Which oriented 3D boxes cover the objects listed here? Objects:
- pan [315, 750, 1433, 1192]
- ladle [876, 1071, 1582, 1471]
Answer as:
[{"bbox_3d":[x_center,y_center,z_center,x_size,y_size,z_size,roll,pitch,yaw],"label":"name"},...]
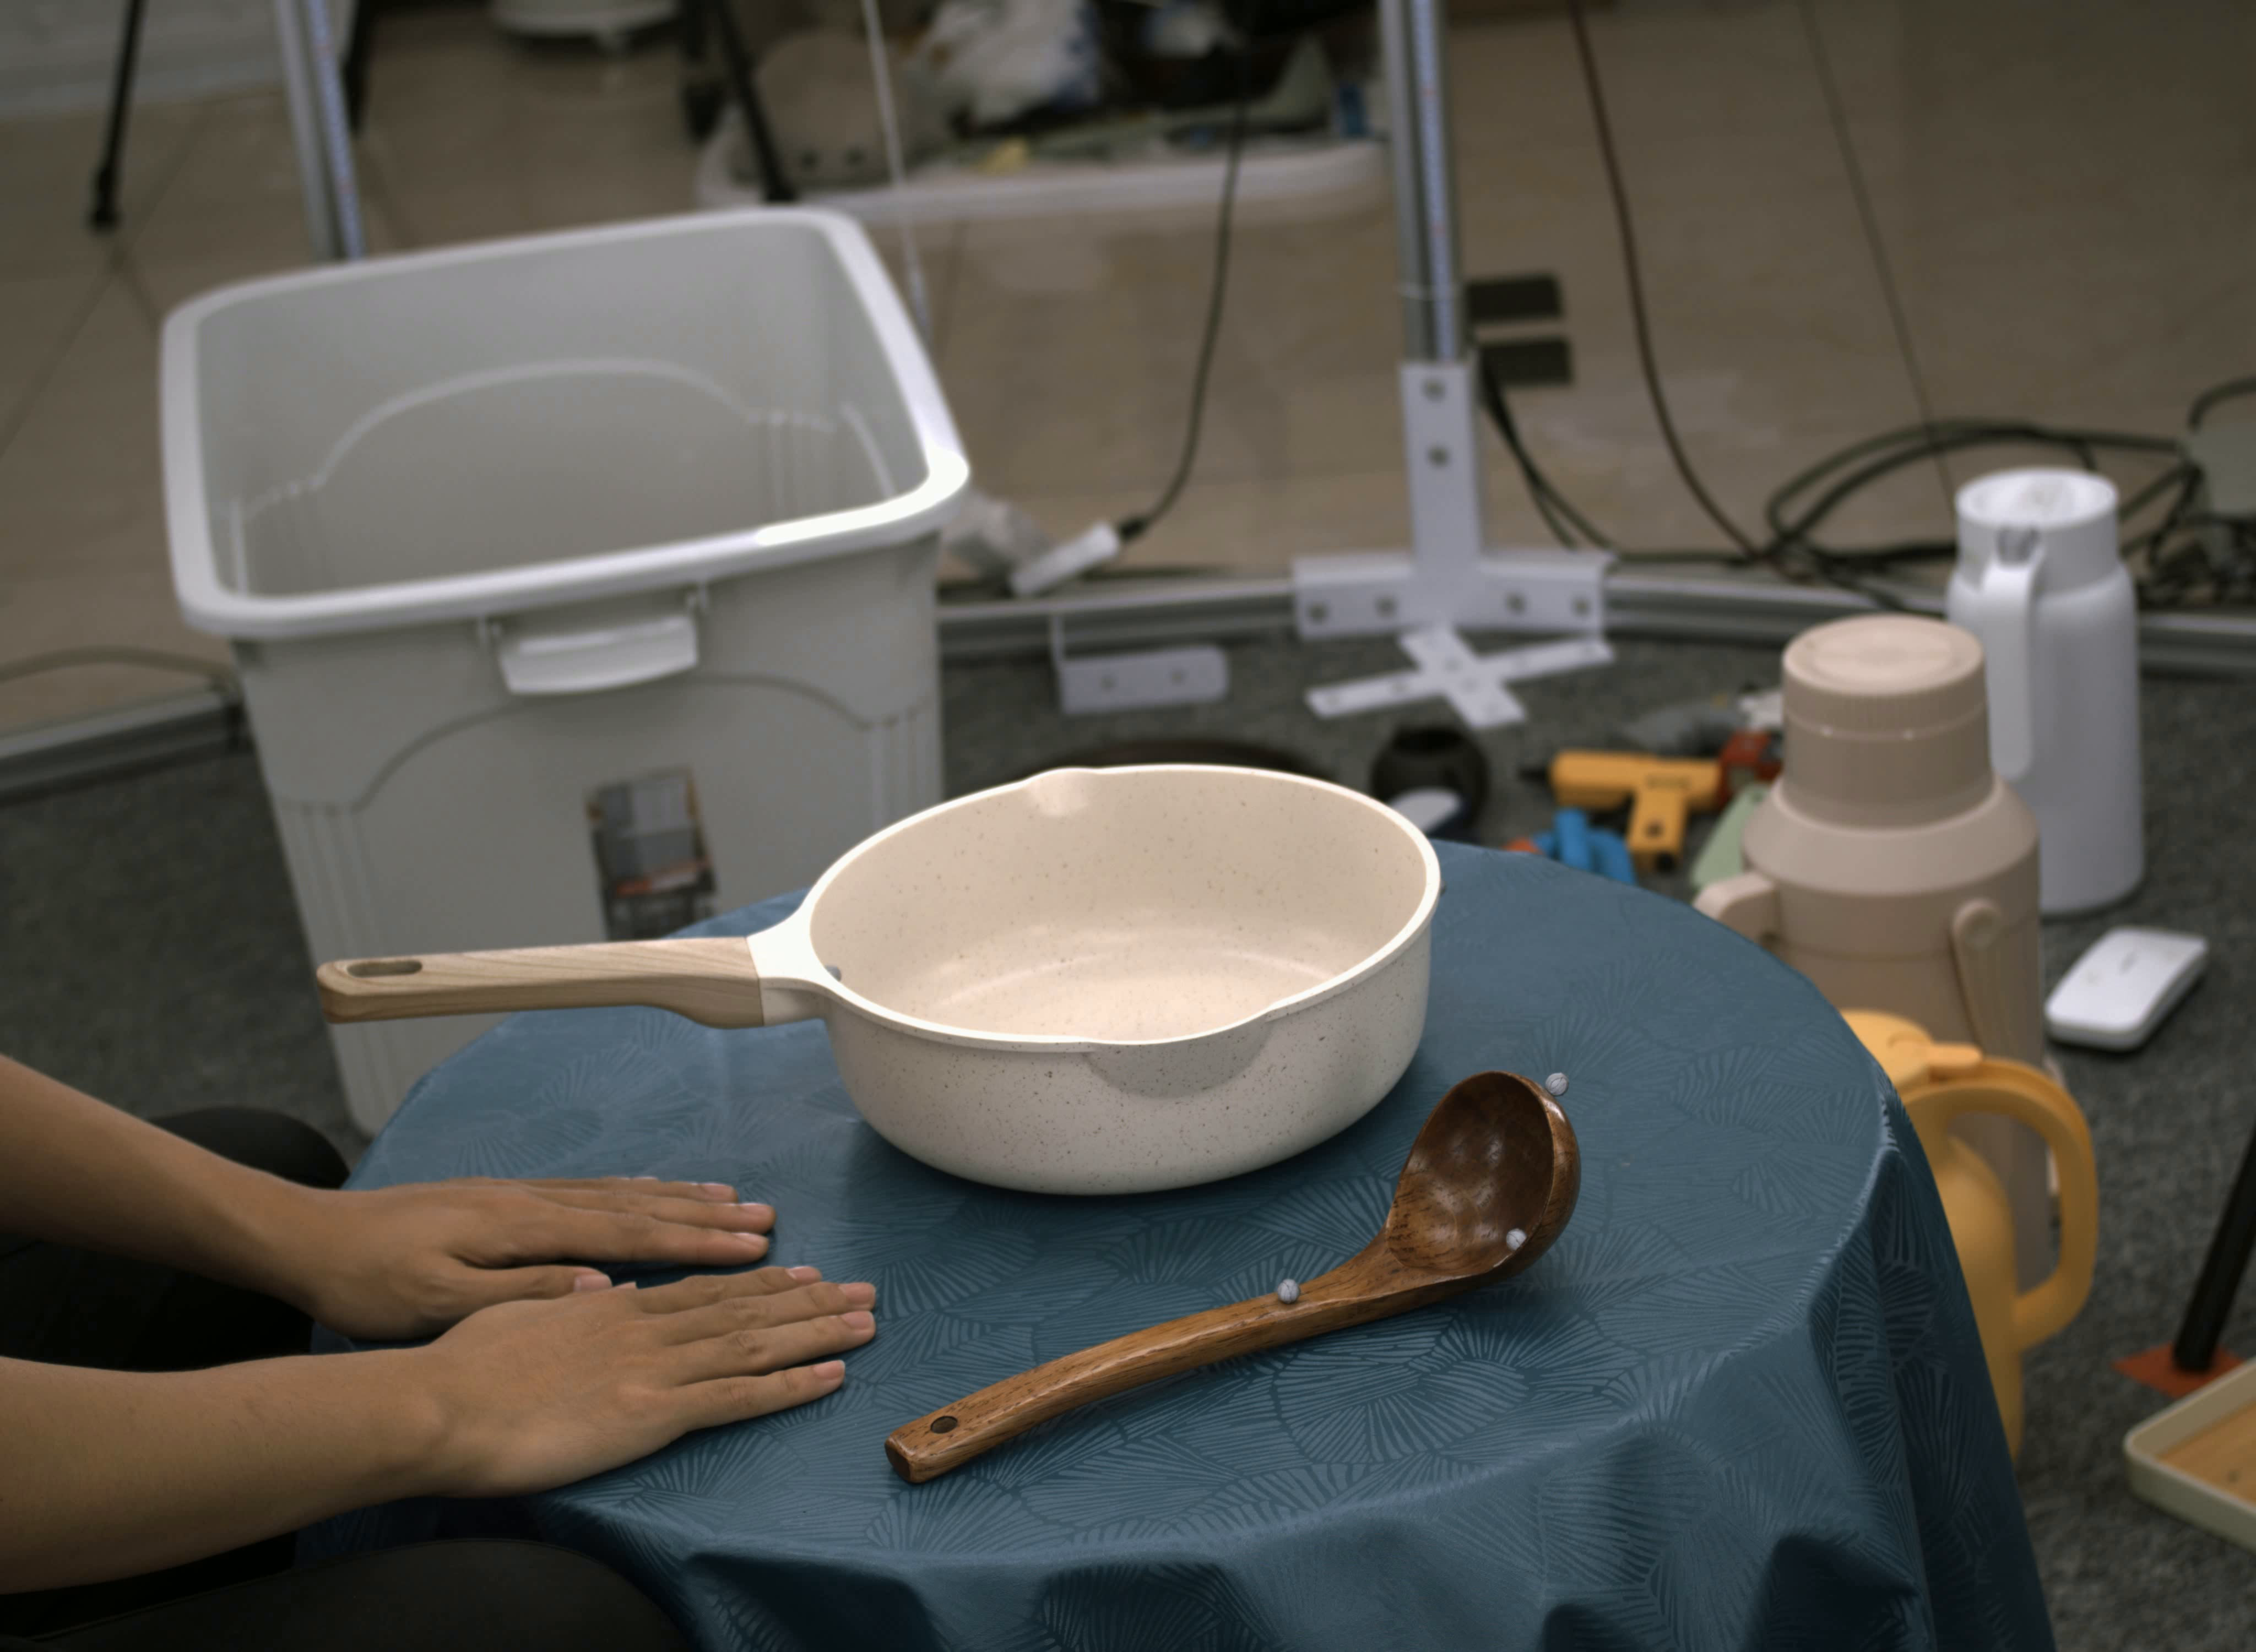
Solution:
[{"bbox_3d":[-0.093,0.069,2.205,0.434,0.103,0.259,-10,27,-8],"label":"pan"},{"bbox_3d":[0.036,0.156,2.012,0.273,0.078,0.081,-16,28,-20],"label":"ladle"}]
